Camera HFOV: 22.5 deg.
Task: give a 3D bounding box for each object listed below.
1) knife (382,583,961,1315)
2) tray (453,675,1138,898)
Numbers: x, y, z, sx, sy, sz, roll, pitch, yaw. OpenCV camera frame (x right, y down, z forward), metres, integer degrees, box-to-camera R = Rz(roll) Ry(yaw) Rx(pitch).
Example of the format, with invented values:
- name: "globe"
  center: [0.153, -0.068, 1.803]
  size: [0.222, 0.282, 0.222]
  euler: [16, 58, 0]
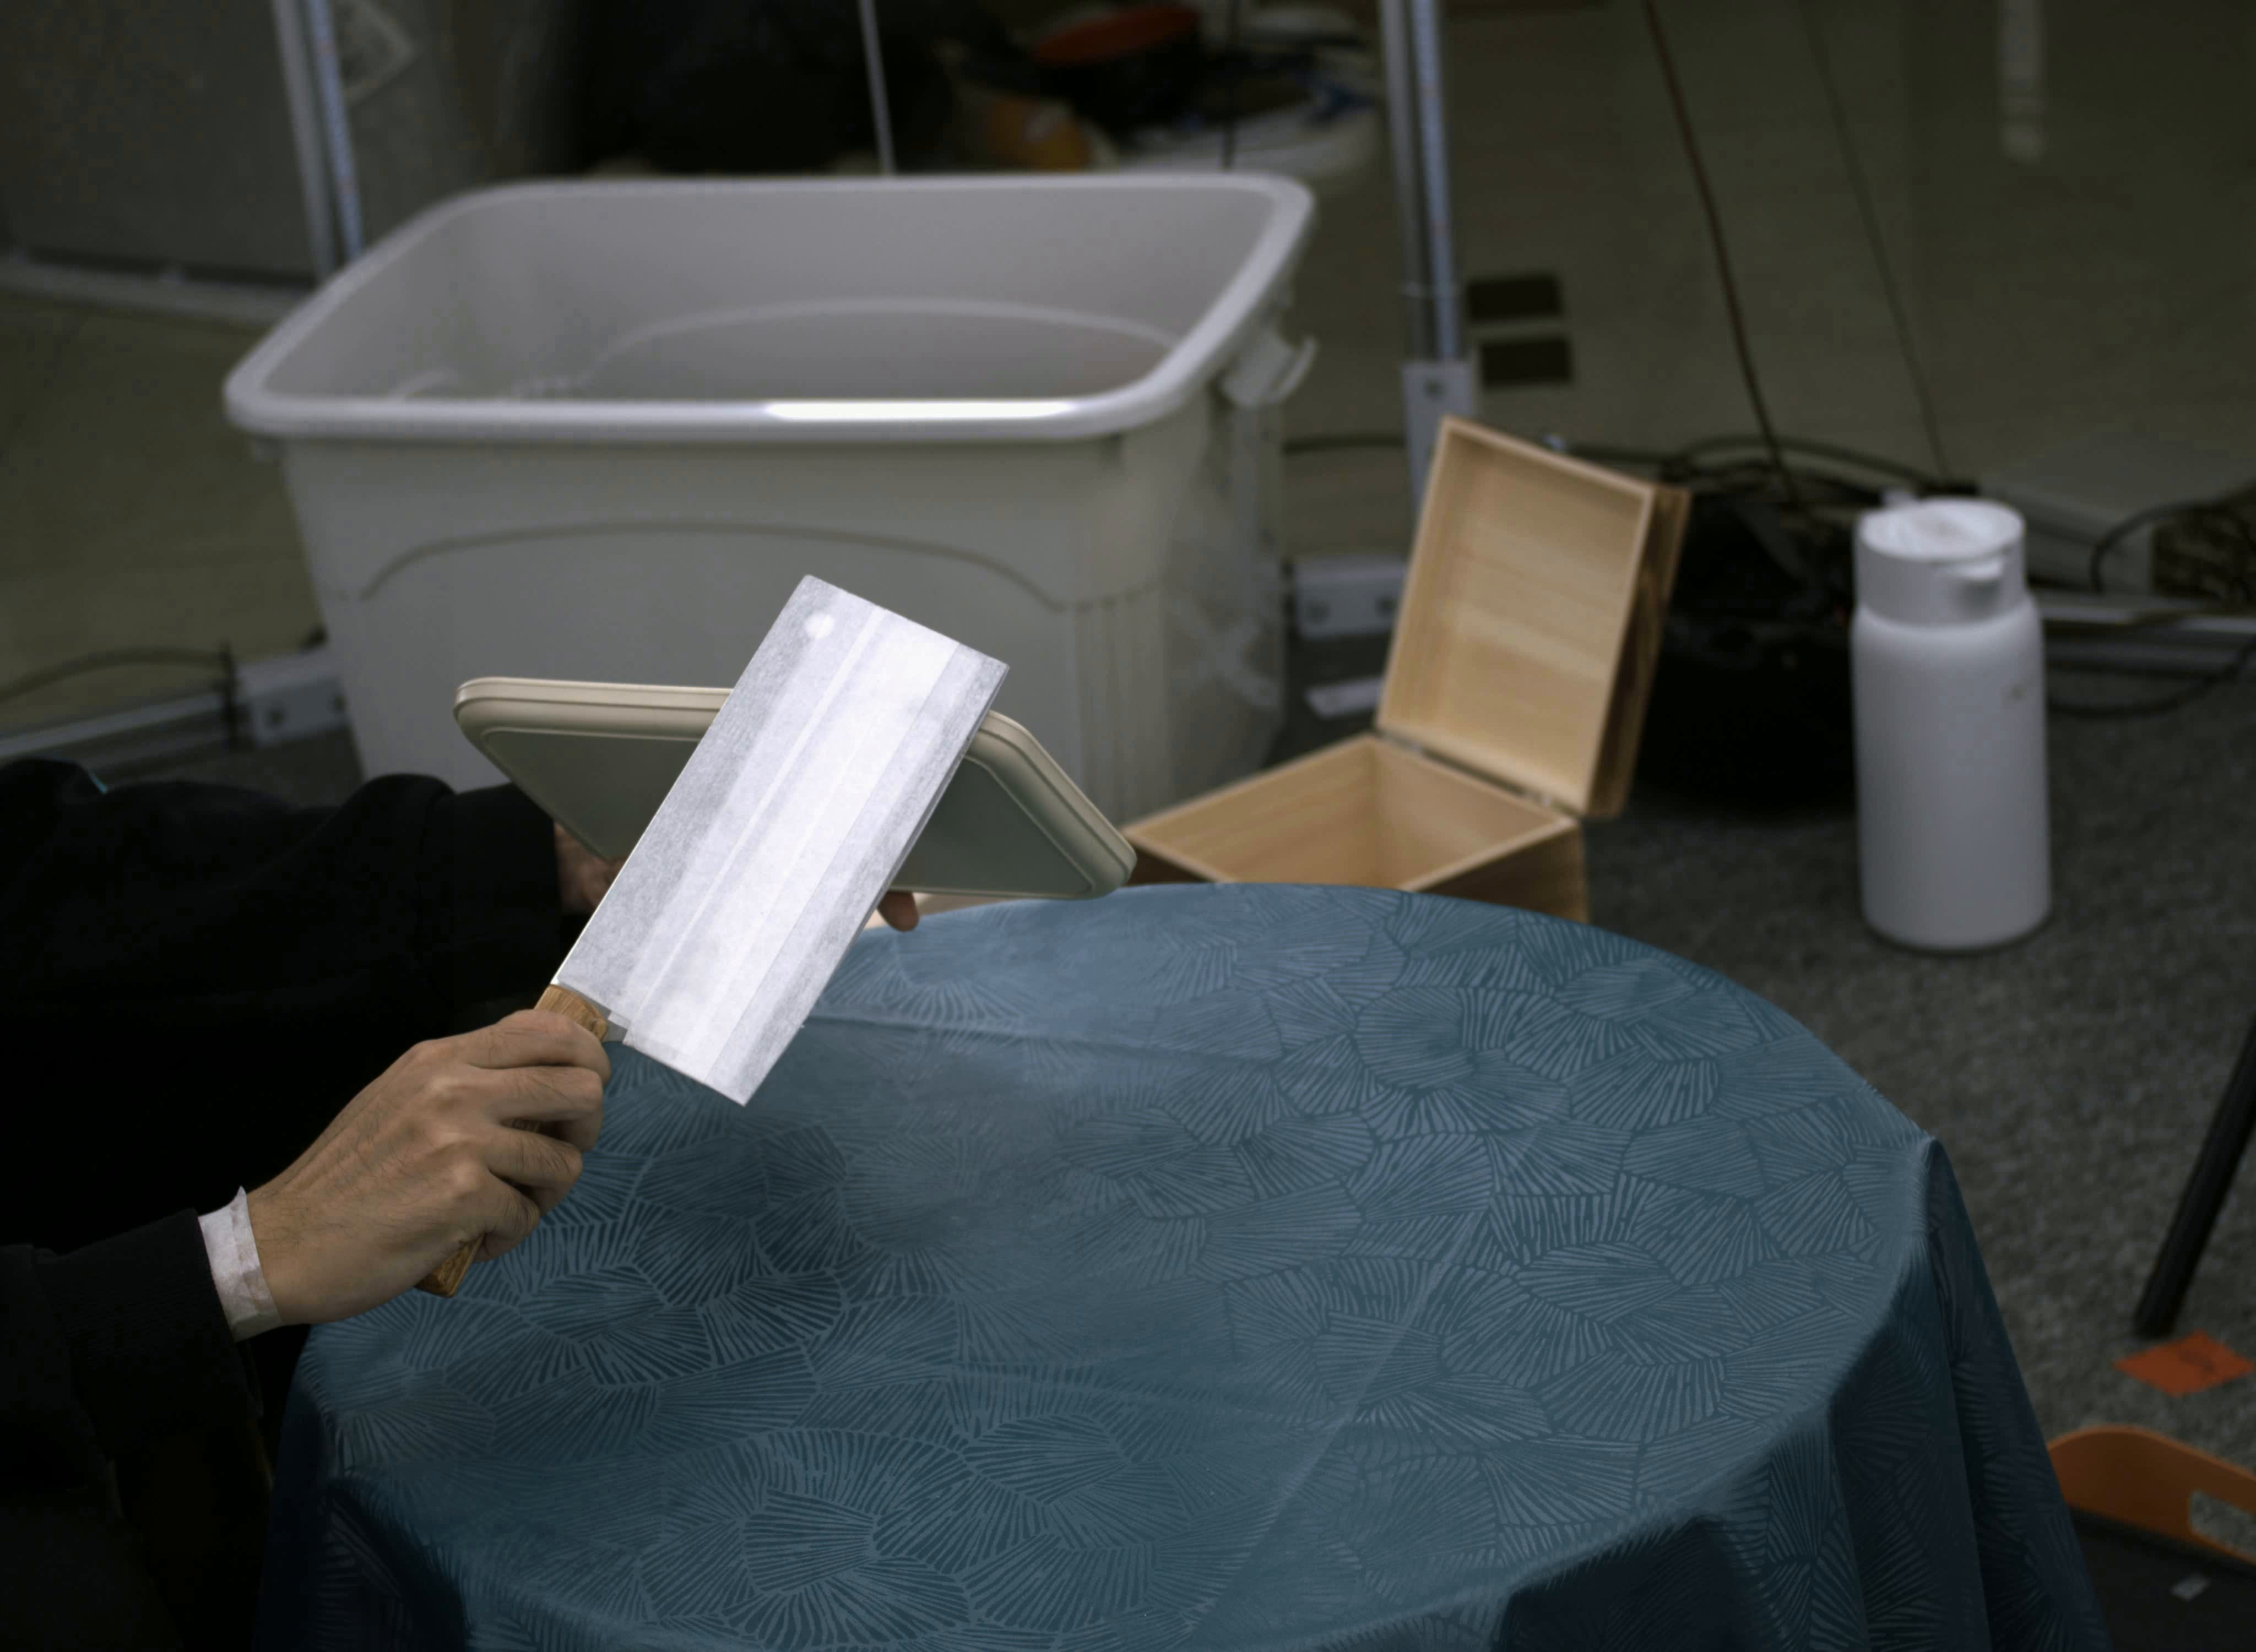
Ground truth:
- name: "knife"
  center: [-0.156, 0.050, 2.018]
  size: [0.092, 0.021, 0.303]
  euler: [26, 75, 17]
- name: "tray"
  center: [-0.127, -0.012, 2.149]
  size: [0.239, 0.173, 0.017]
  euler: [3, 68, 23]
